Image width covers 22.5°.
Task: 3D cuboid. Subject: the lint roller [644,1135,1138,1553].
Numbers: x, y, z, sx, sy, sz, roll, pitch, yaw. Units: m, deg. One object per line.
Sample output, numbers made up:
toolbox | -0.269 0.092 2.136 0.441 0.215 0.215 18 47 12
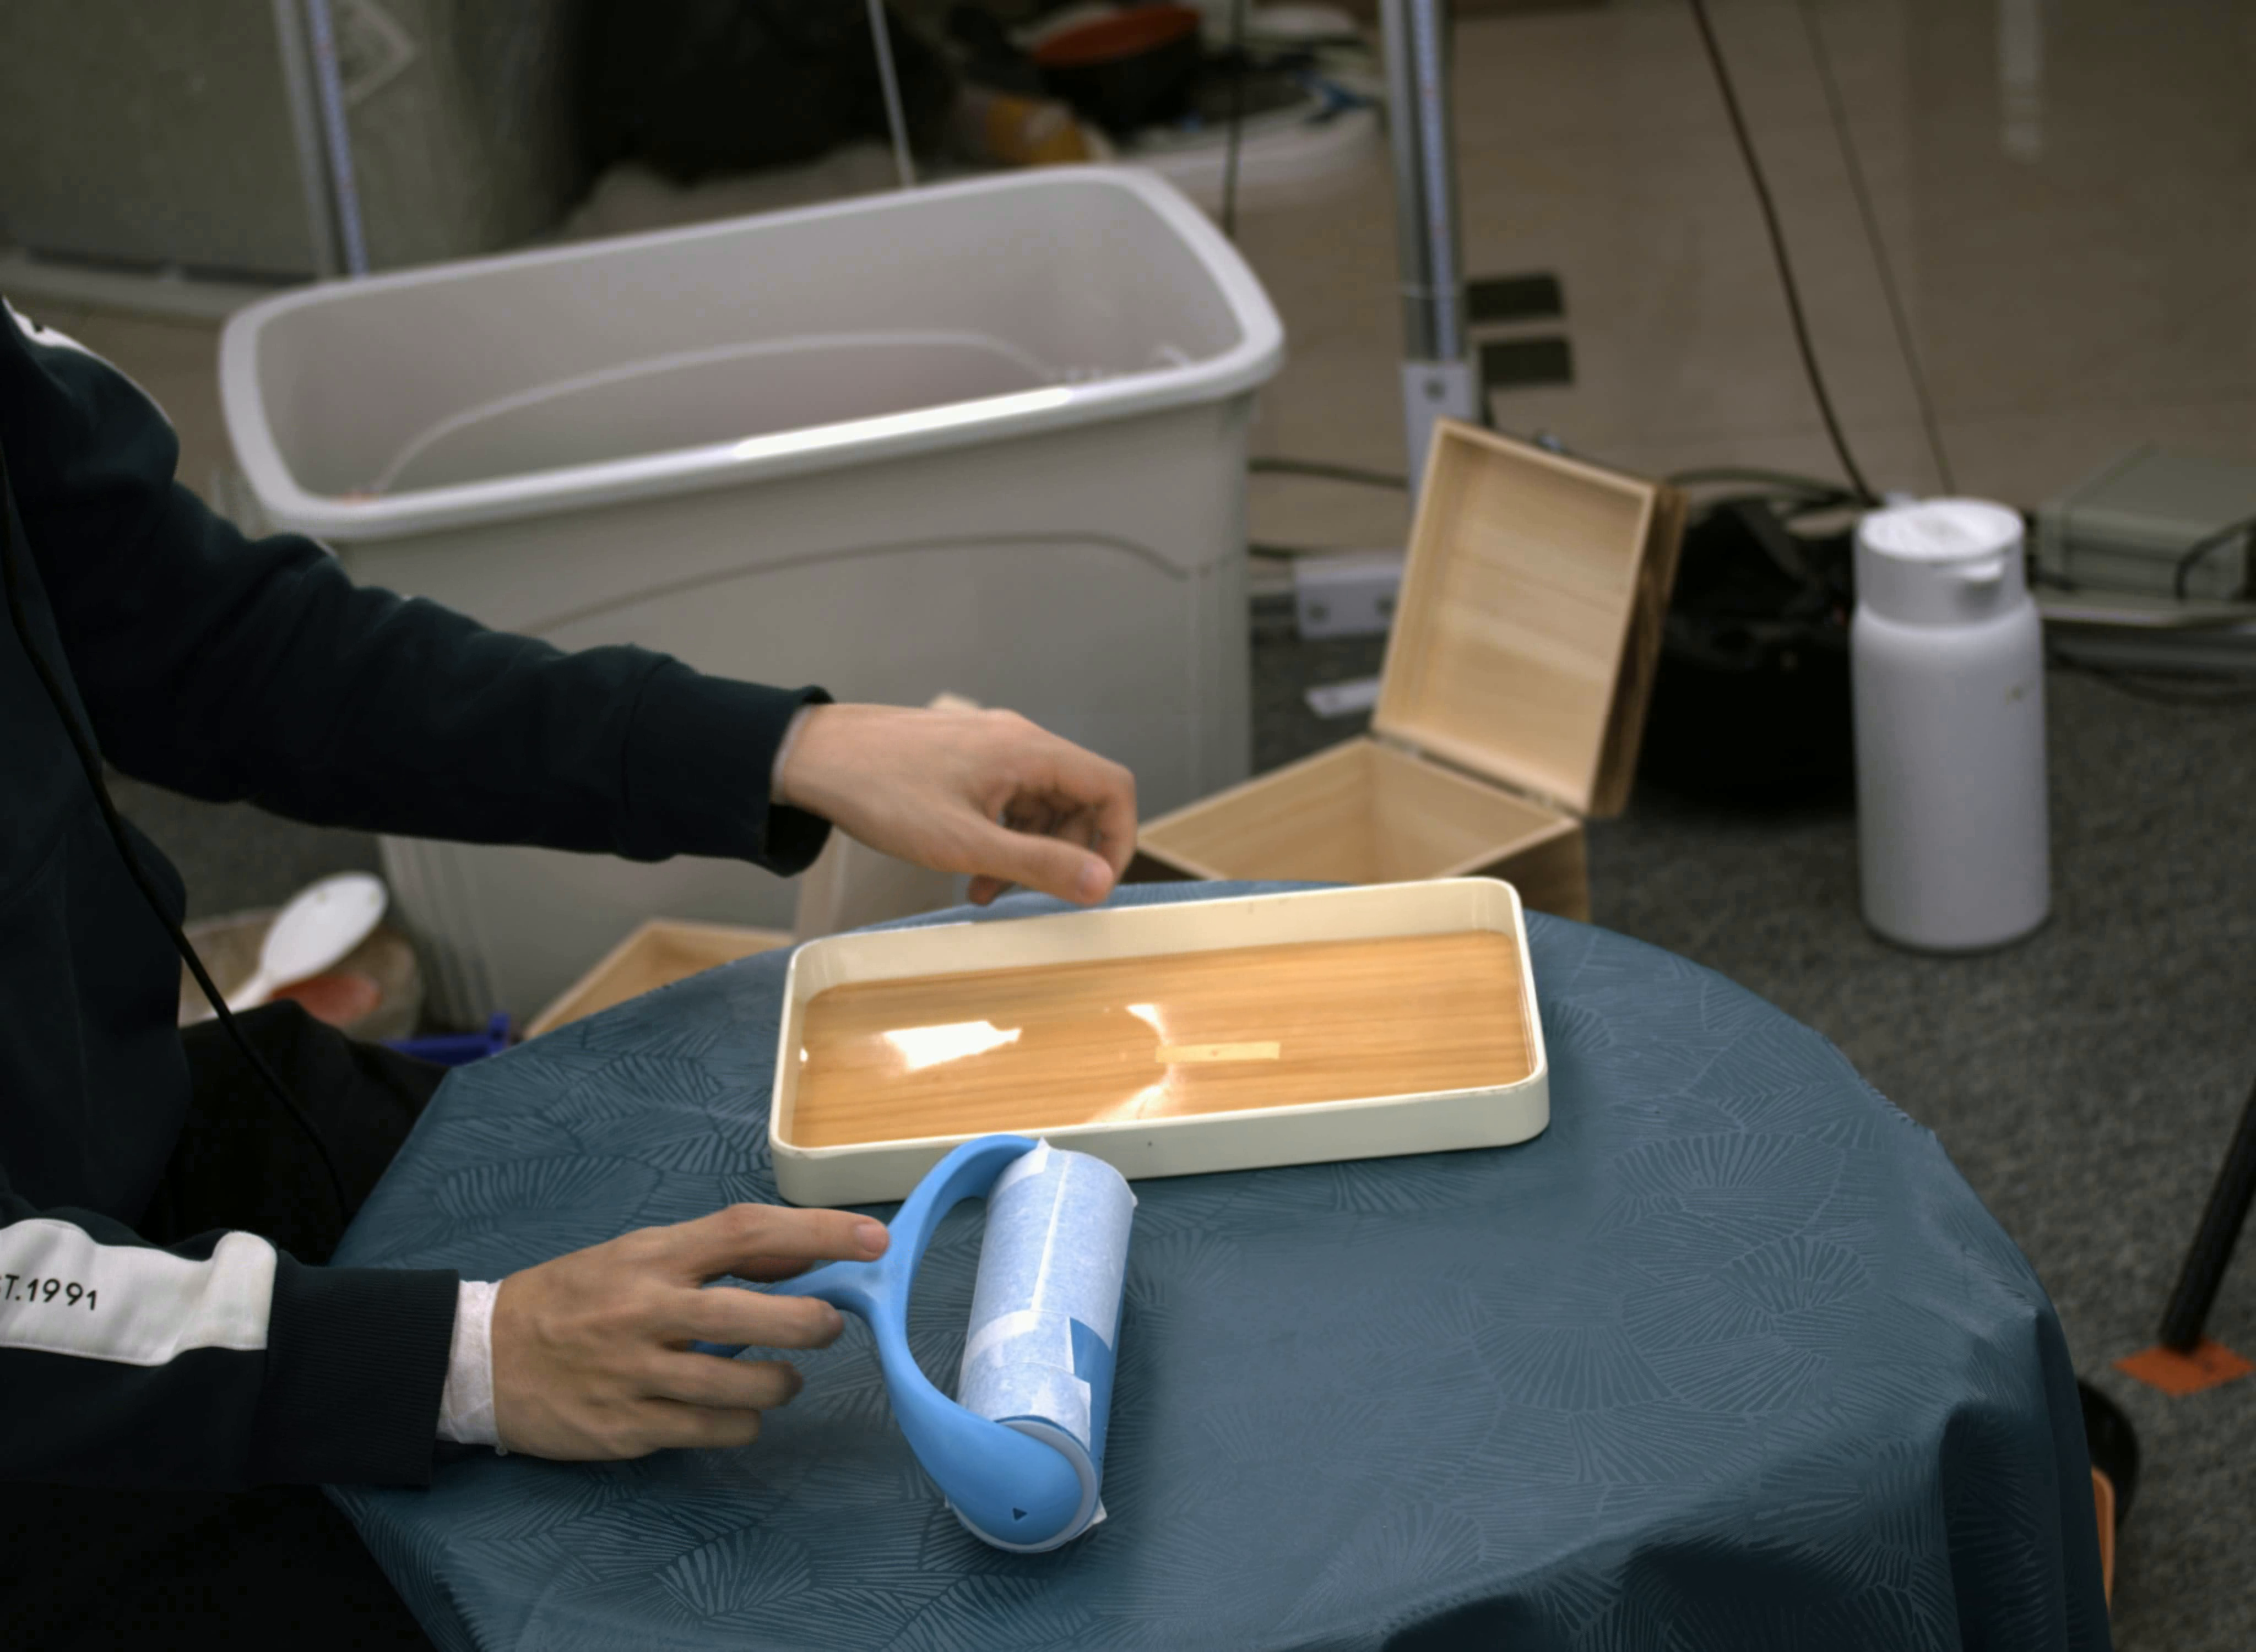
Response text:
lint roller | -0.085 0.186 1.999 0.180 0.069 0.225 -5 27 1

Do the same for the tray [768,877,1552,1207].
tray | 0.012 0.083 2.228 0.300 0.028 0.189 -5 25 3
